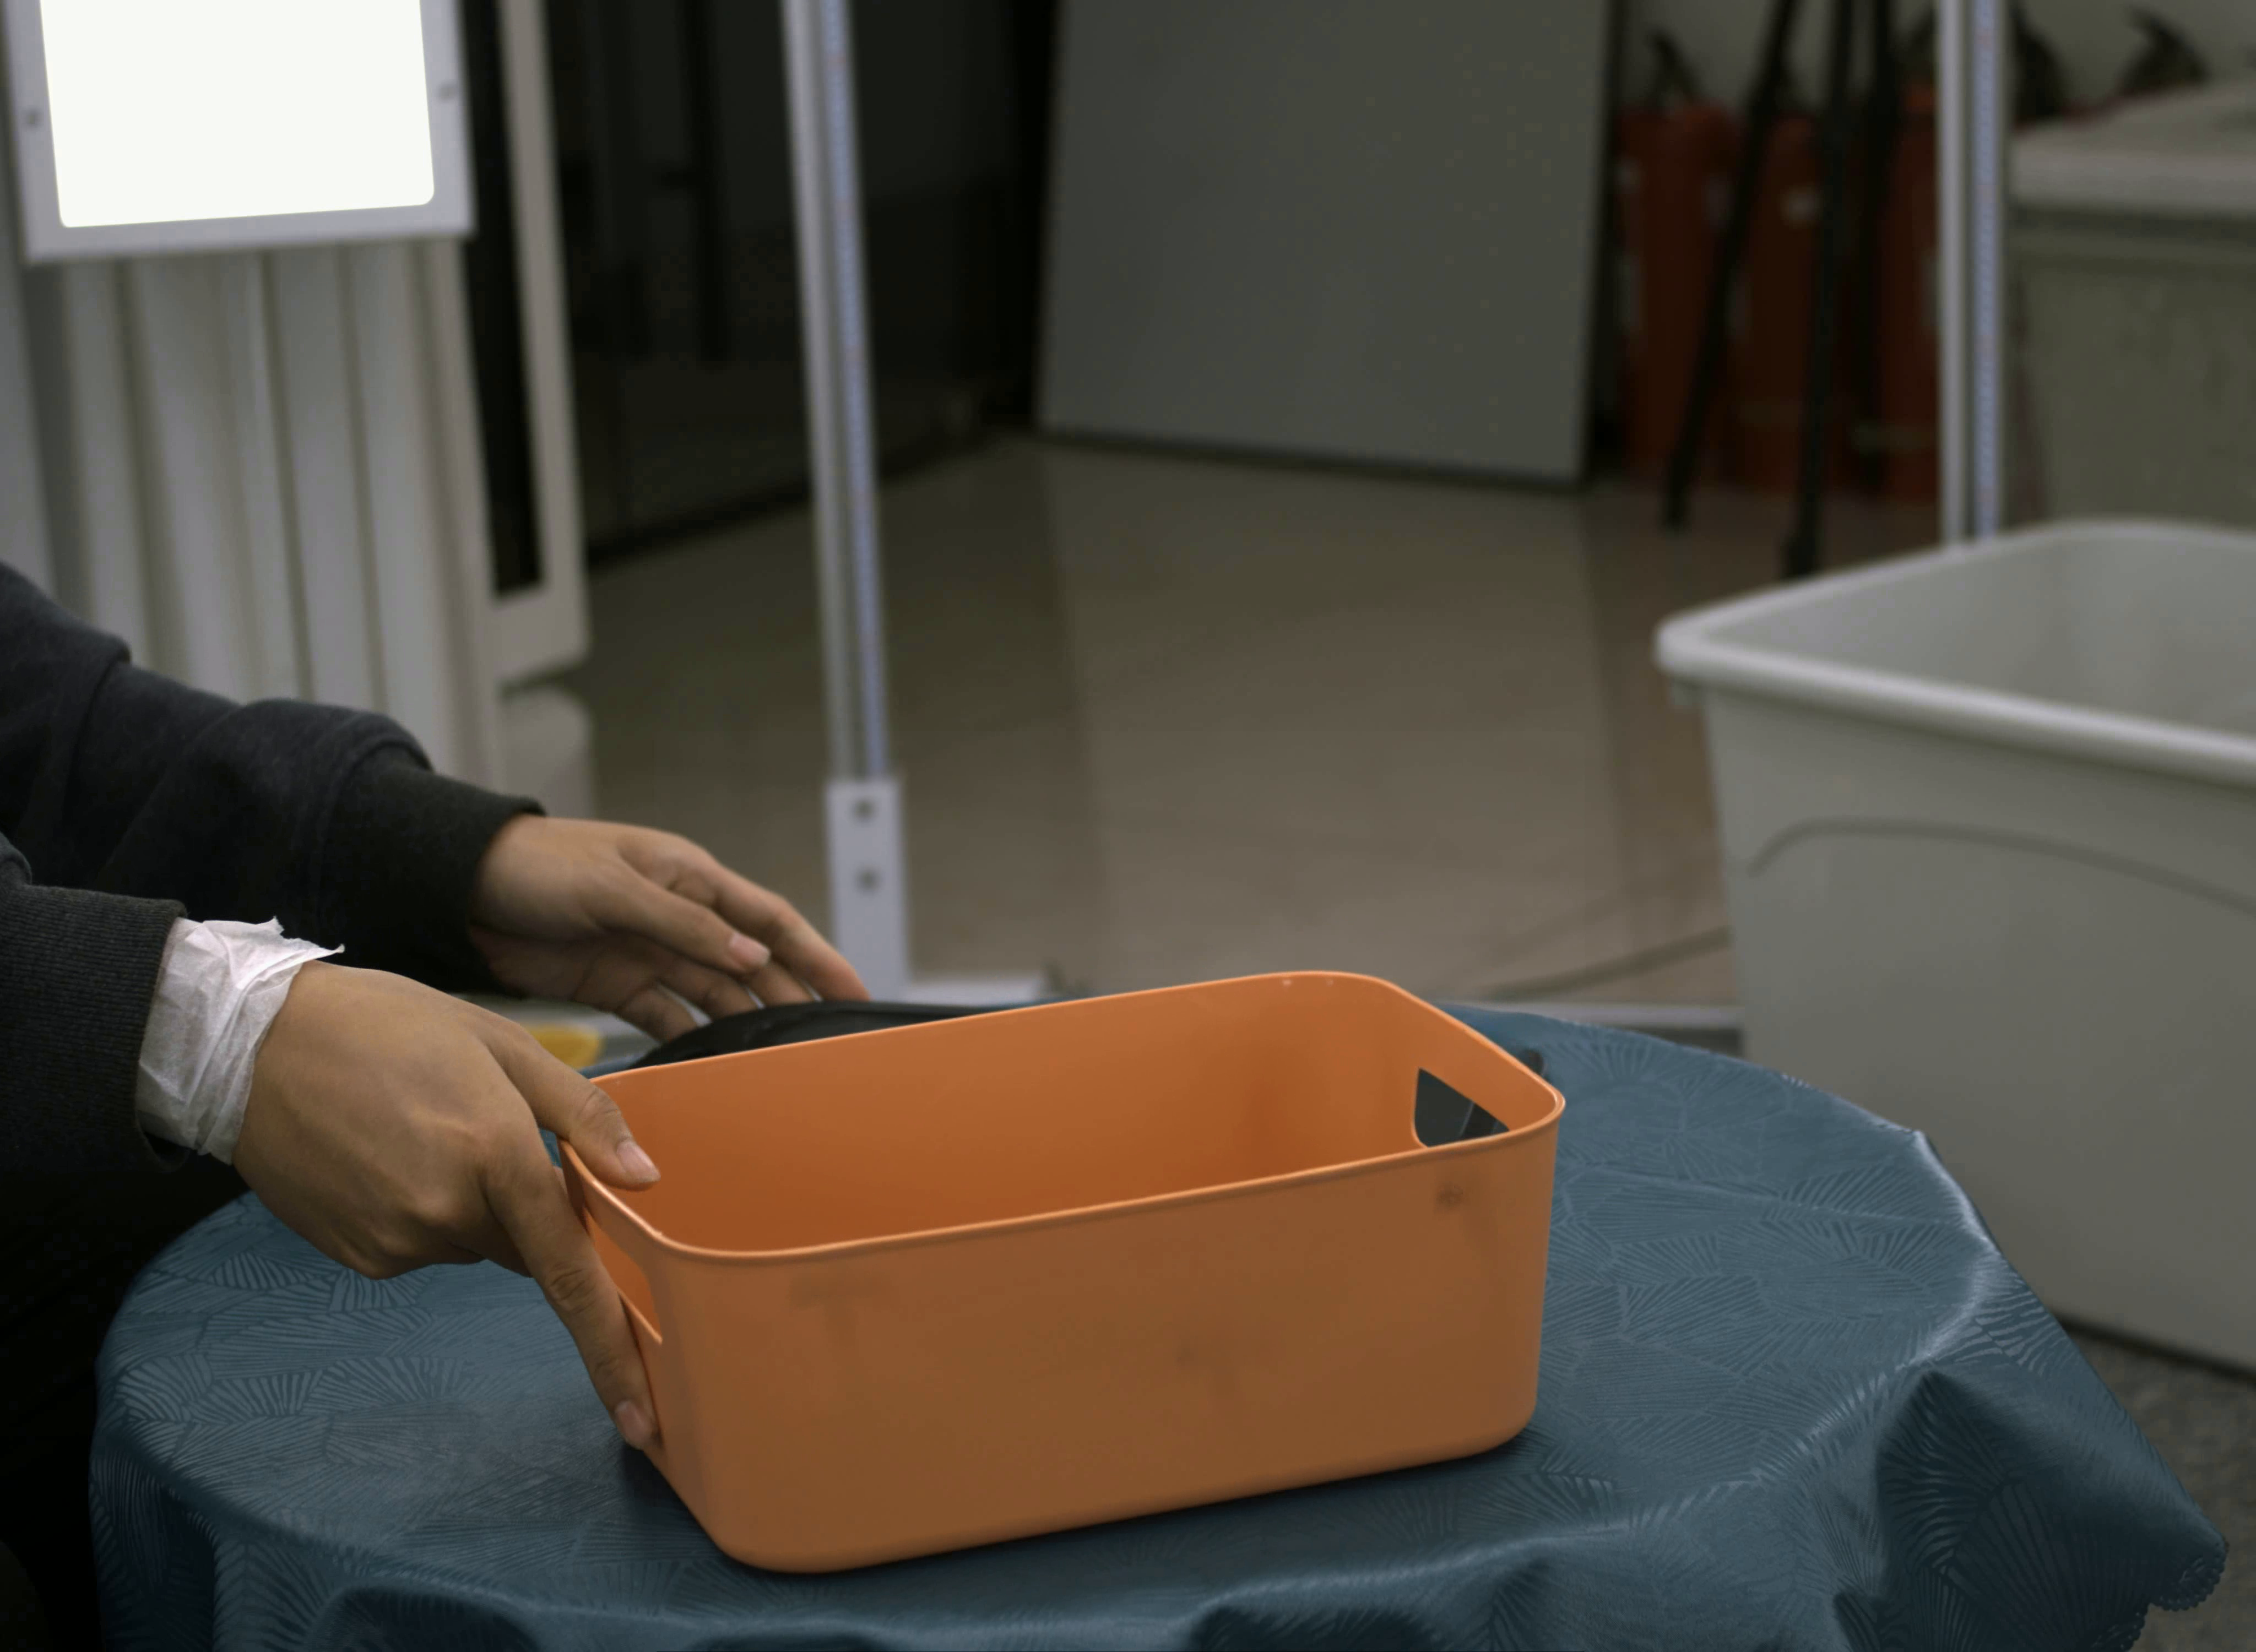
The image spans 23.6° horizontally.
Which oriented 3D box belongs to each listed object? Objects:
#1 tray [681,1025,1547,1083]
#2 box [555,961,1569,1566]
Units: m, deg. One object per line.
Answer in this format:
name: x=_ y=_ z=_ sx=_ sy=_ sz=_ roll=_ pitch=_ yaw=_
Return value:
tray: x=-0.024 y=0.101 z=1.825 sx=0.323 sy=0.010 sz=0.210 roll=0 pitch=16 yaw=12
box: x=-0.020 y=0.122 z=1.546 sx=0.268 sy=0.104 sz=0.201 roll=-8 pitch=14 yaw=-17
